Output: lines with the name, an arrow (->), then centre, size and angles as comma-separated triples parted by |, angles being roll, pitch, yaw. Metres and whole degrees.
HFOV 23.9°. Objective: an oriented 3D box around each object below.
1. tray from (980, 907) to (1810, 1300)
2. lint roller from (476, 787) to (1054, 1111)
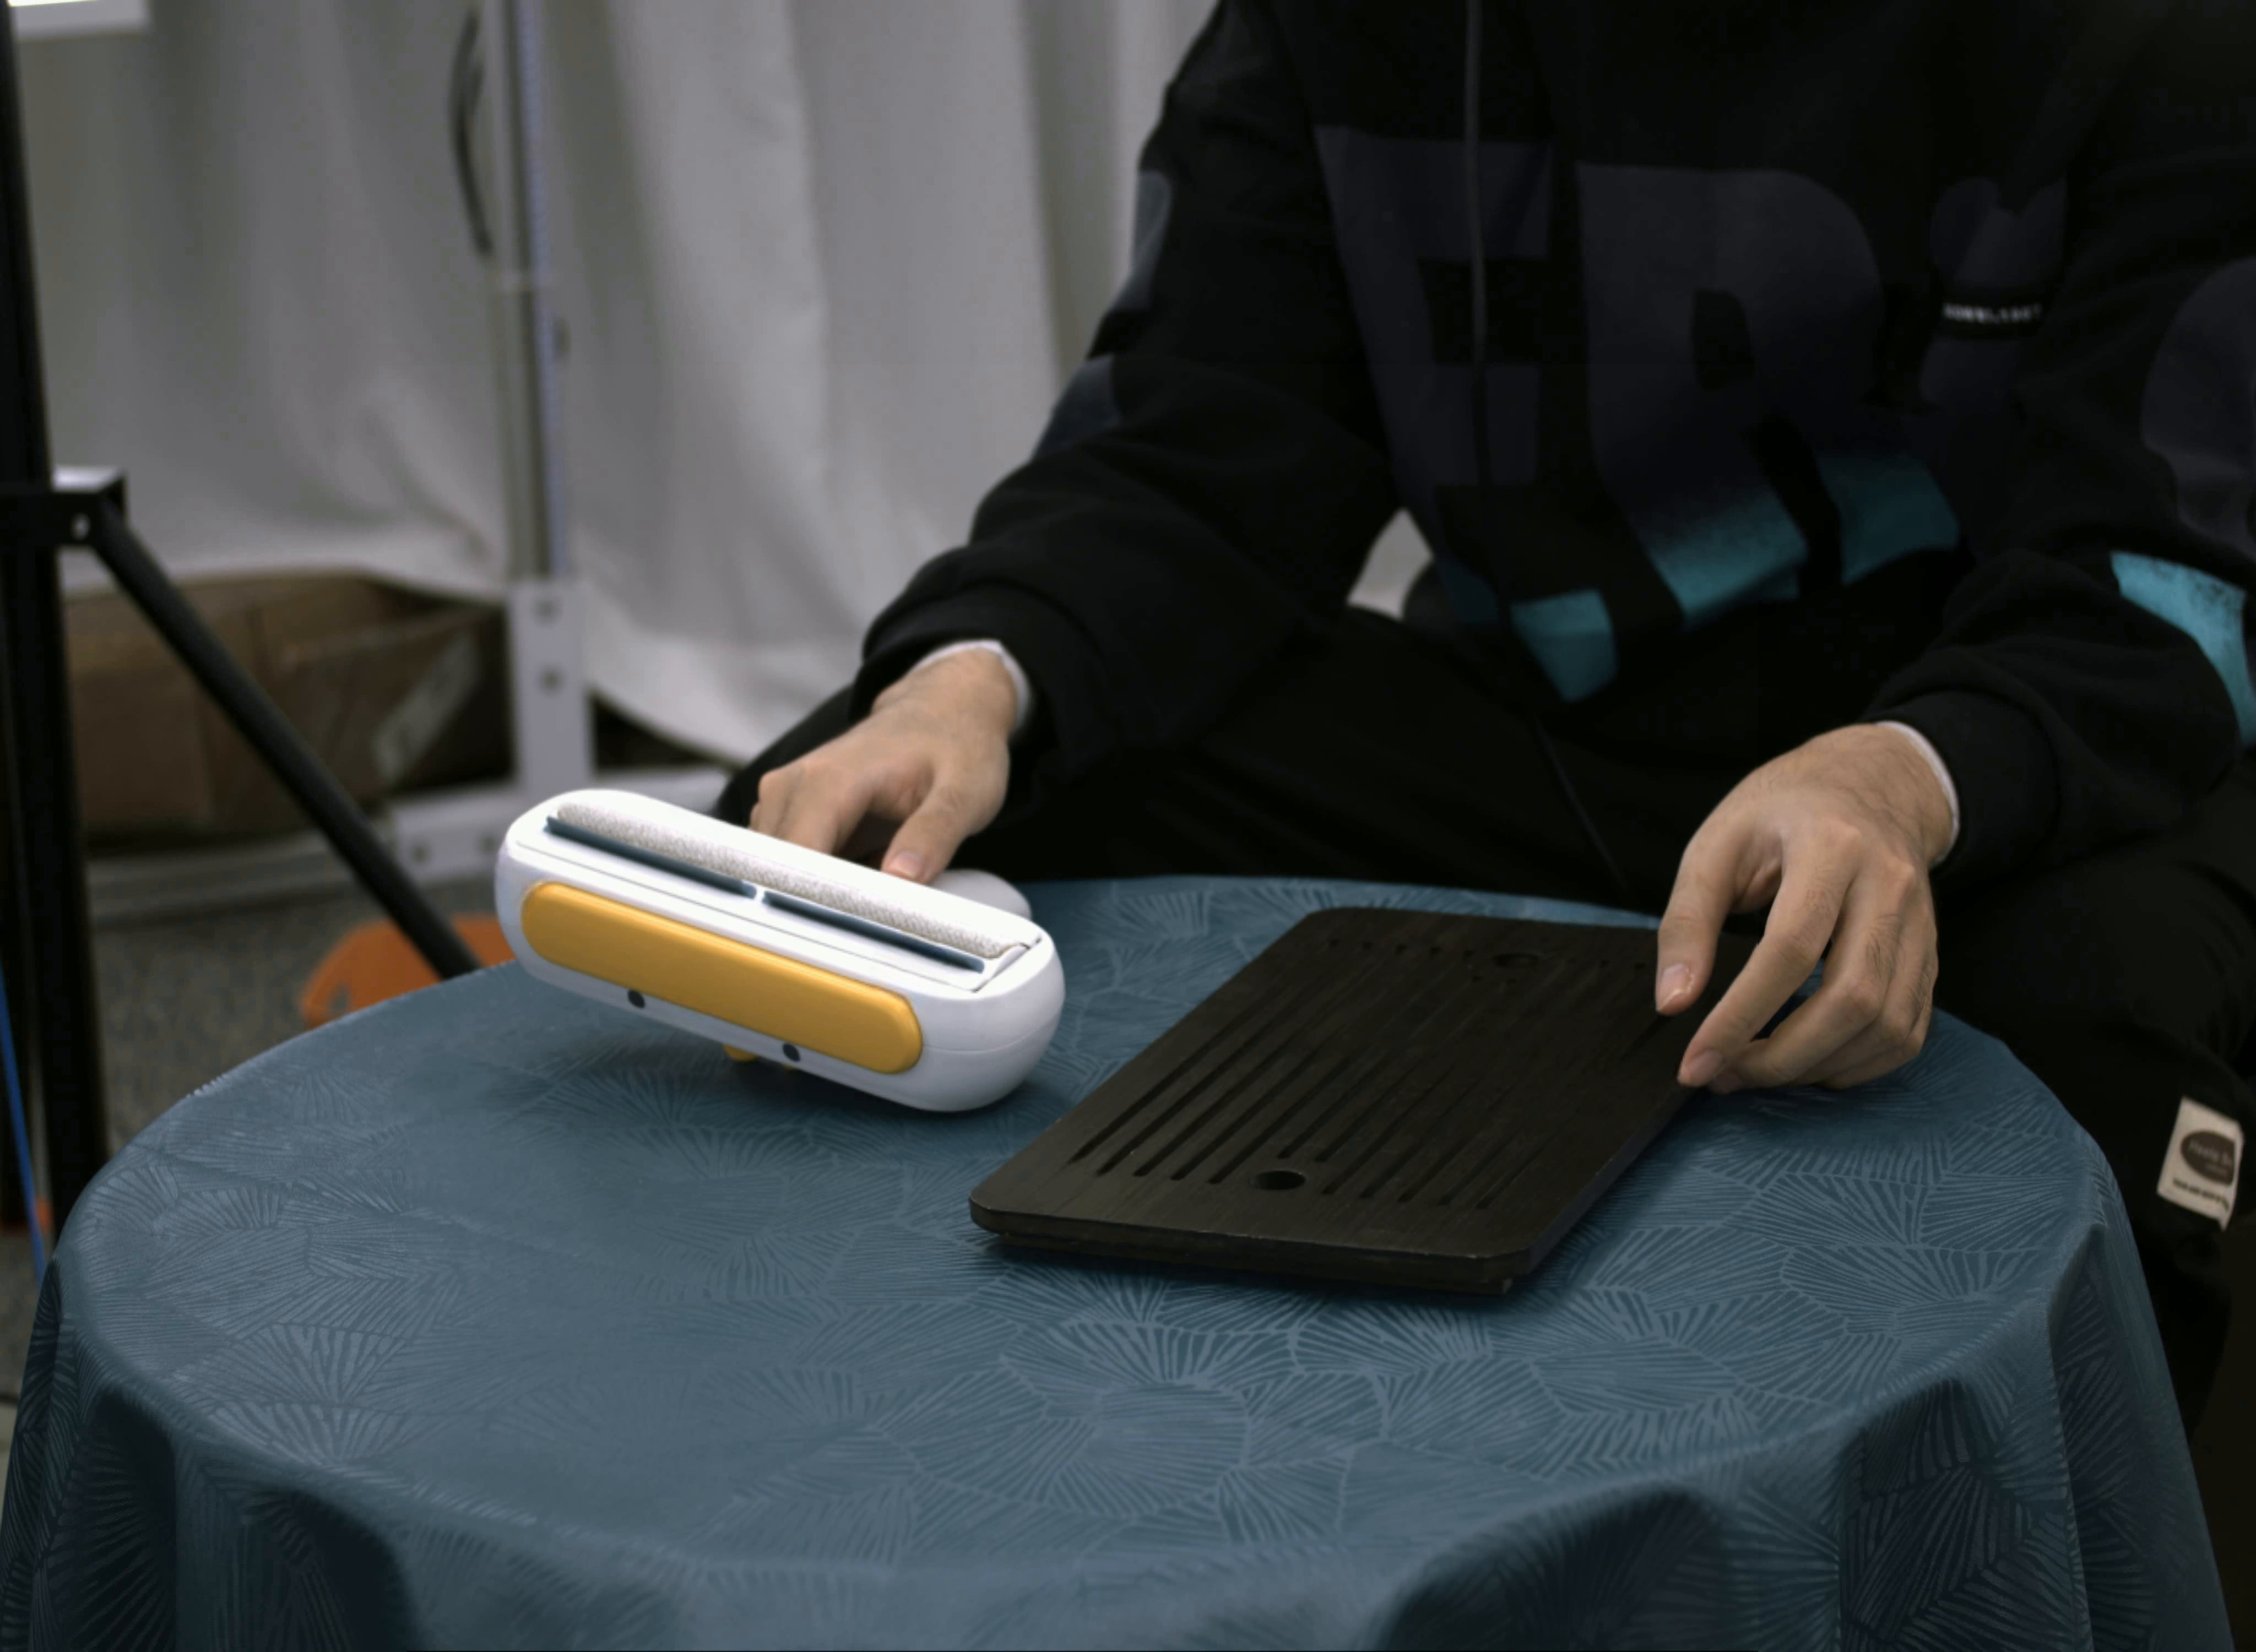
tray -> 0.089, 0.081, 1.606 | 0.172, 0.018, 0.302 | 4, 17, 23
lint roller -> -0.087, 0.031, 1.723 | 0.196, 0.074, 0.188 | 14, 20, 31
